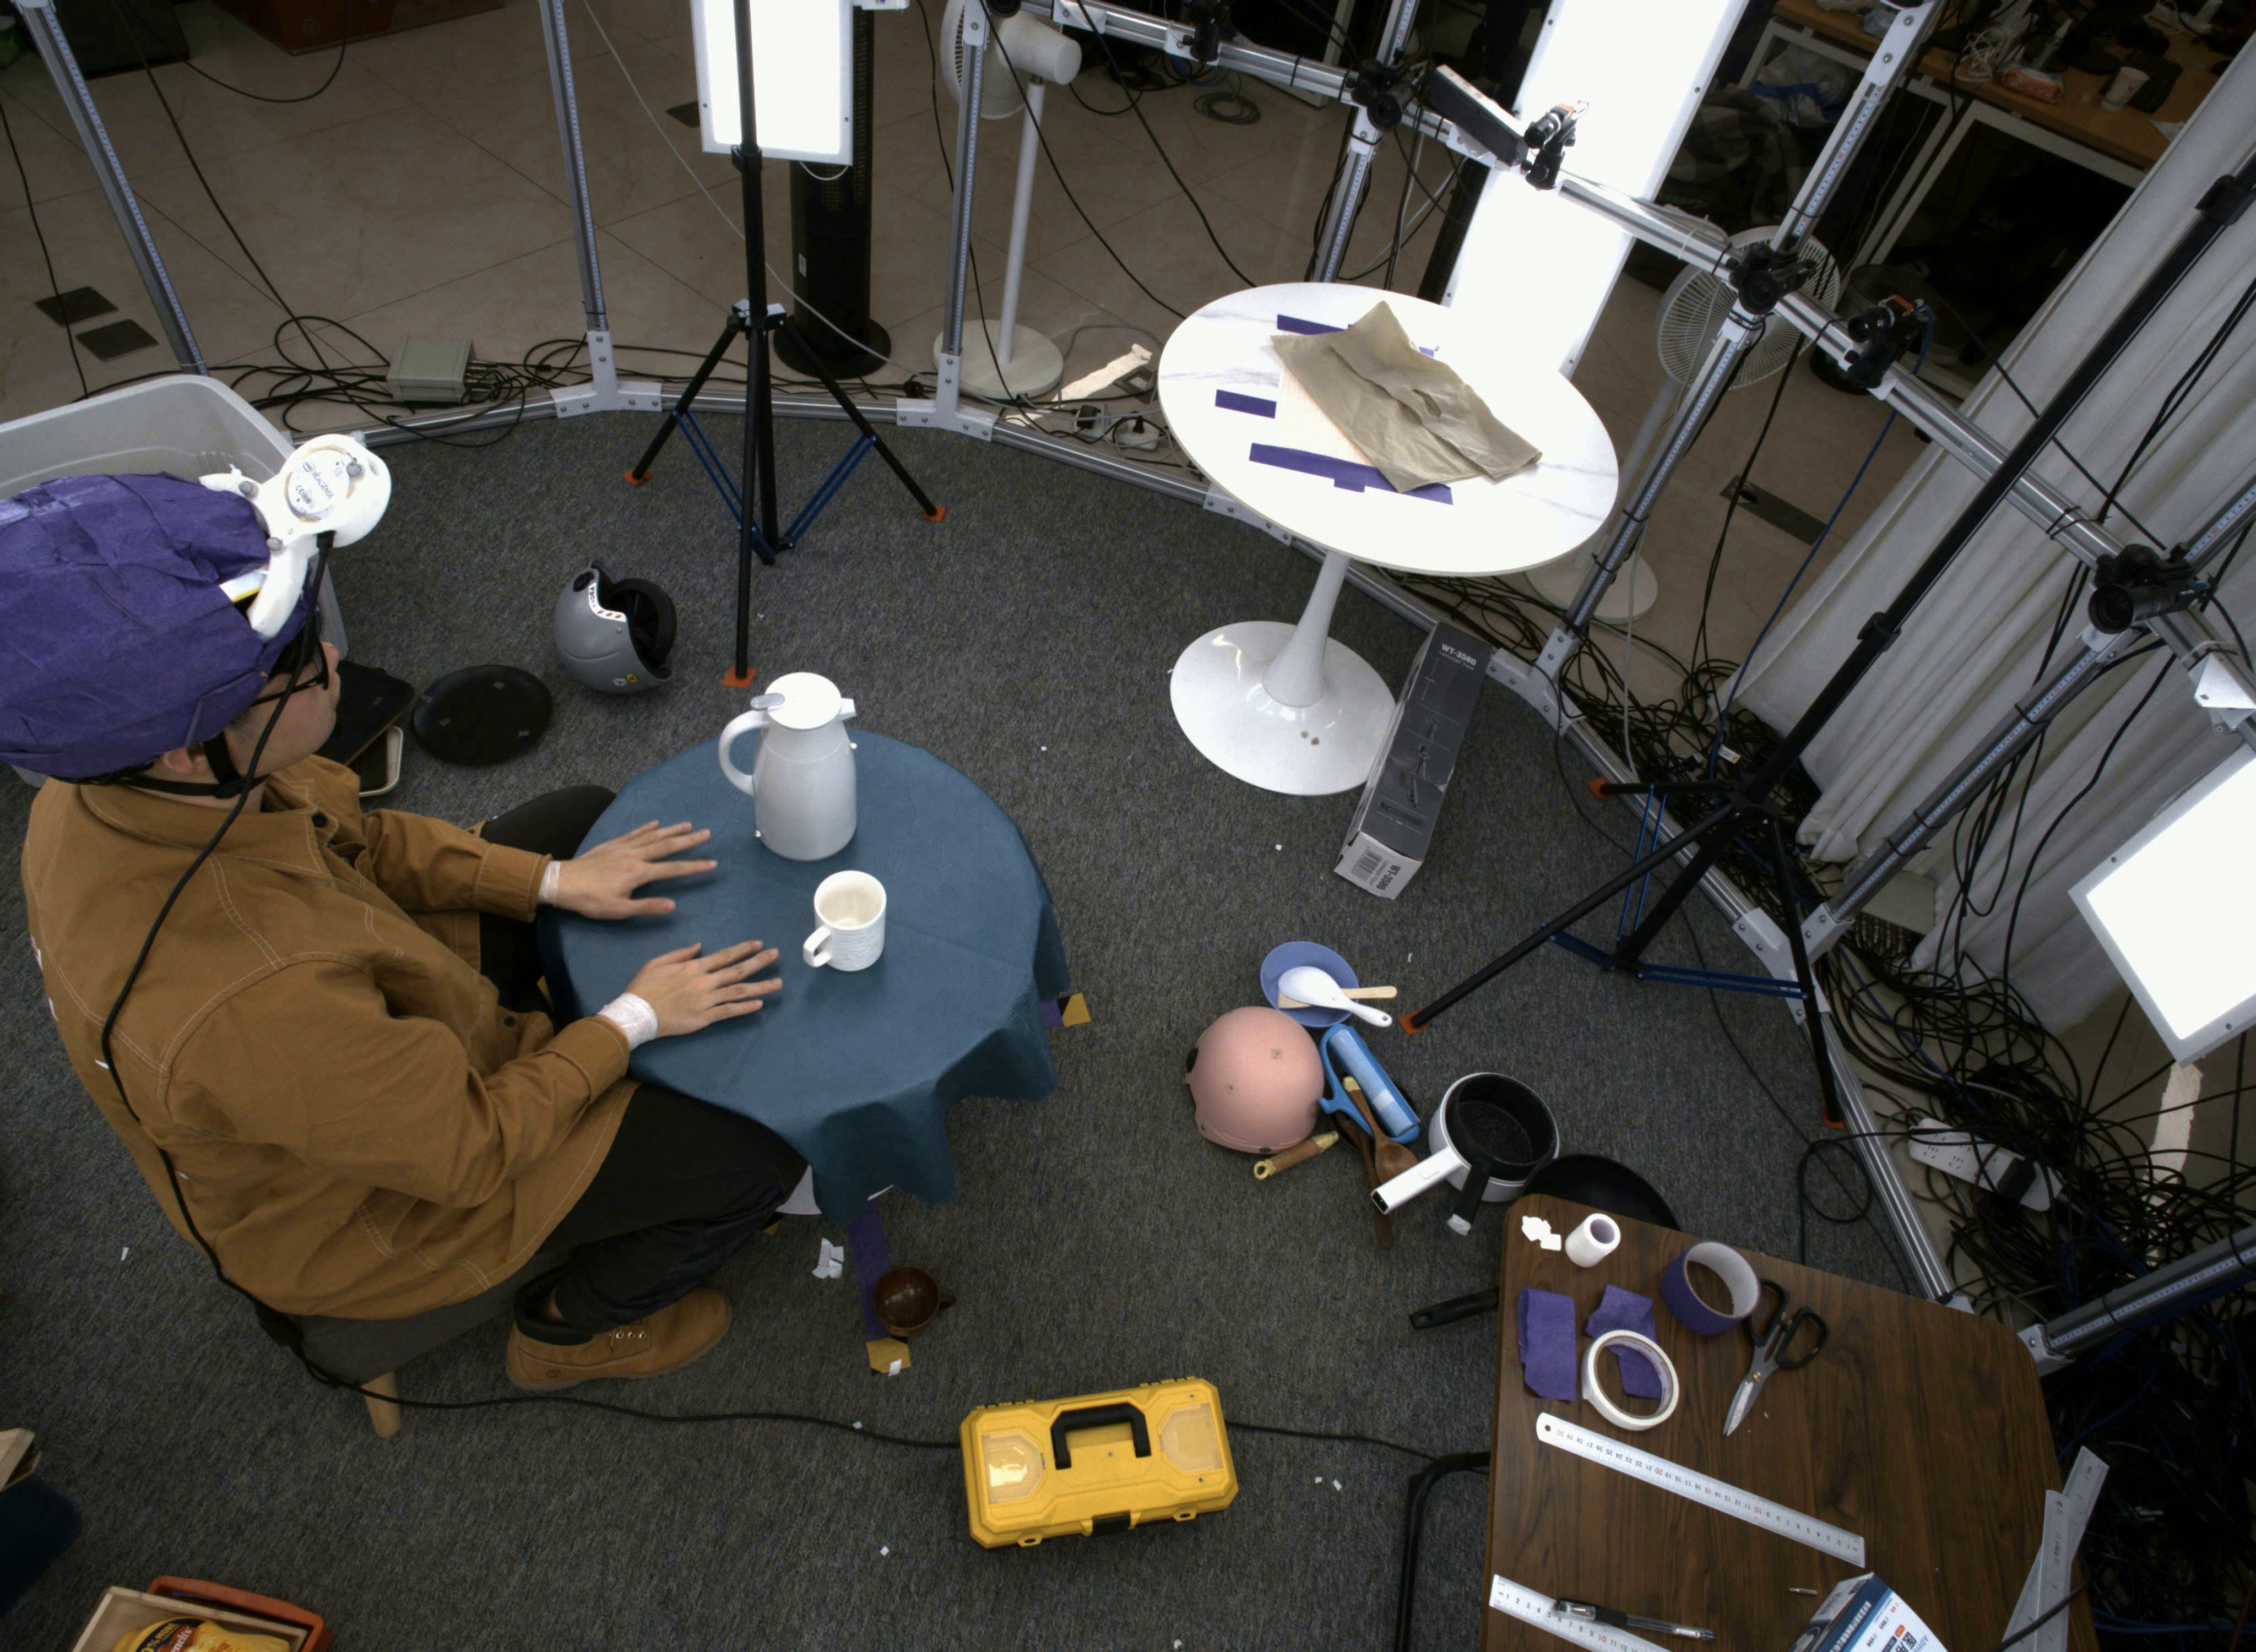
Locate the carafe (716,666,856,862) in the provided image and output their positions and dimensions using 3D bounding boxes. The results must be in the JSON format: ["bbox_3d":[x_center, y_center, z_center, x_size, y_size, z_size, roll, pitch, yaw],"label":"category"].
[{"bbox_3d":[-0.427,-0.080,1.620,0.168,0.254,0.129,-7,55,-17],"label":"carafe"}]

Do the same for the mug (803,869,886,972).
[{"bbox_3d":[-0.349,0.125,1.580,0.083,0.104,0.118,33,53,13],"label":"mug"}]
